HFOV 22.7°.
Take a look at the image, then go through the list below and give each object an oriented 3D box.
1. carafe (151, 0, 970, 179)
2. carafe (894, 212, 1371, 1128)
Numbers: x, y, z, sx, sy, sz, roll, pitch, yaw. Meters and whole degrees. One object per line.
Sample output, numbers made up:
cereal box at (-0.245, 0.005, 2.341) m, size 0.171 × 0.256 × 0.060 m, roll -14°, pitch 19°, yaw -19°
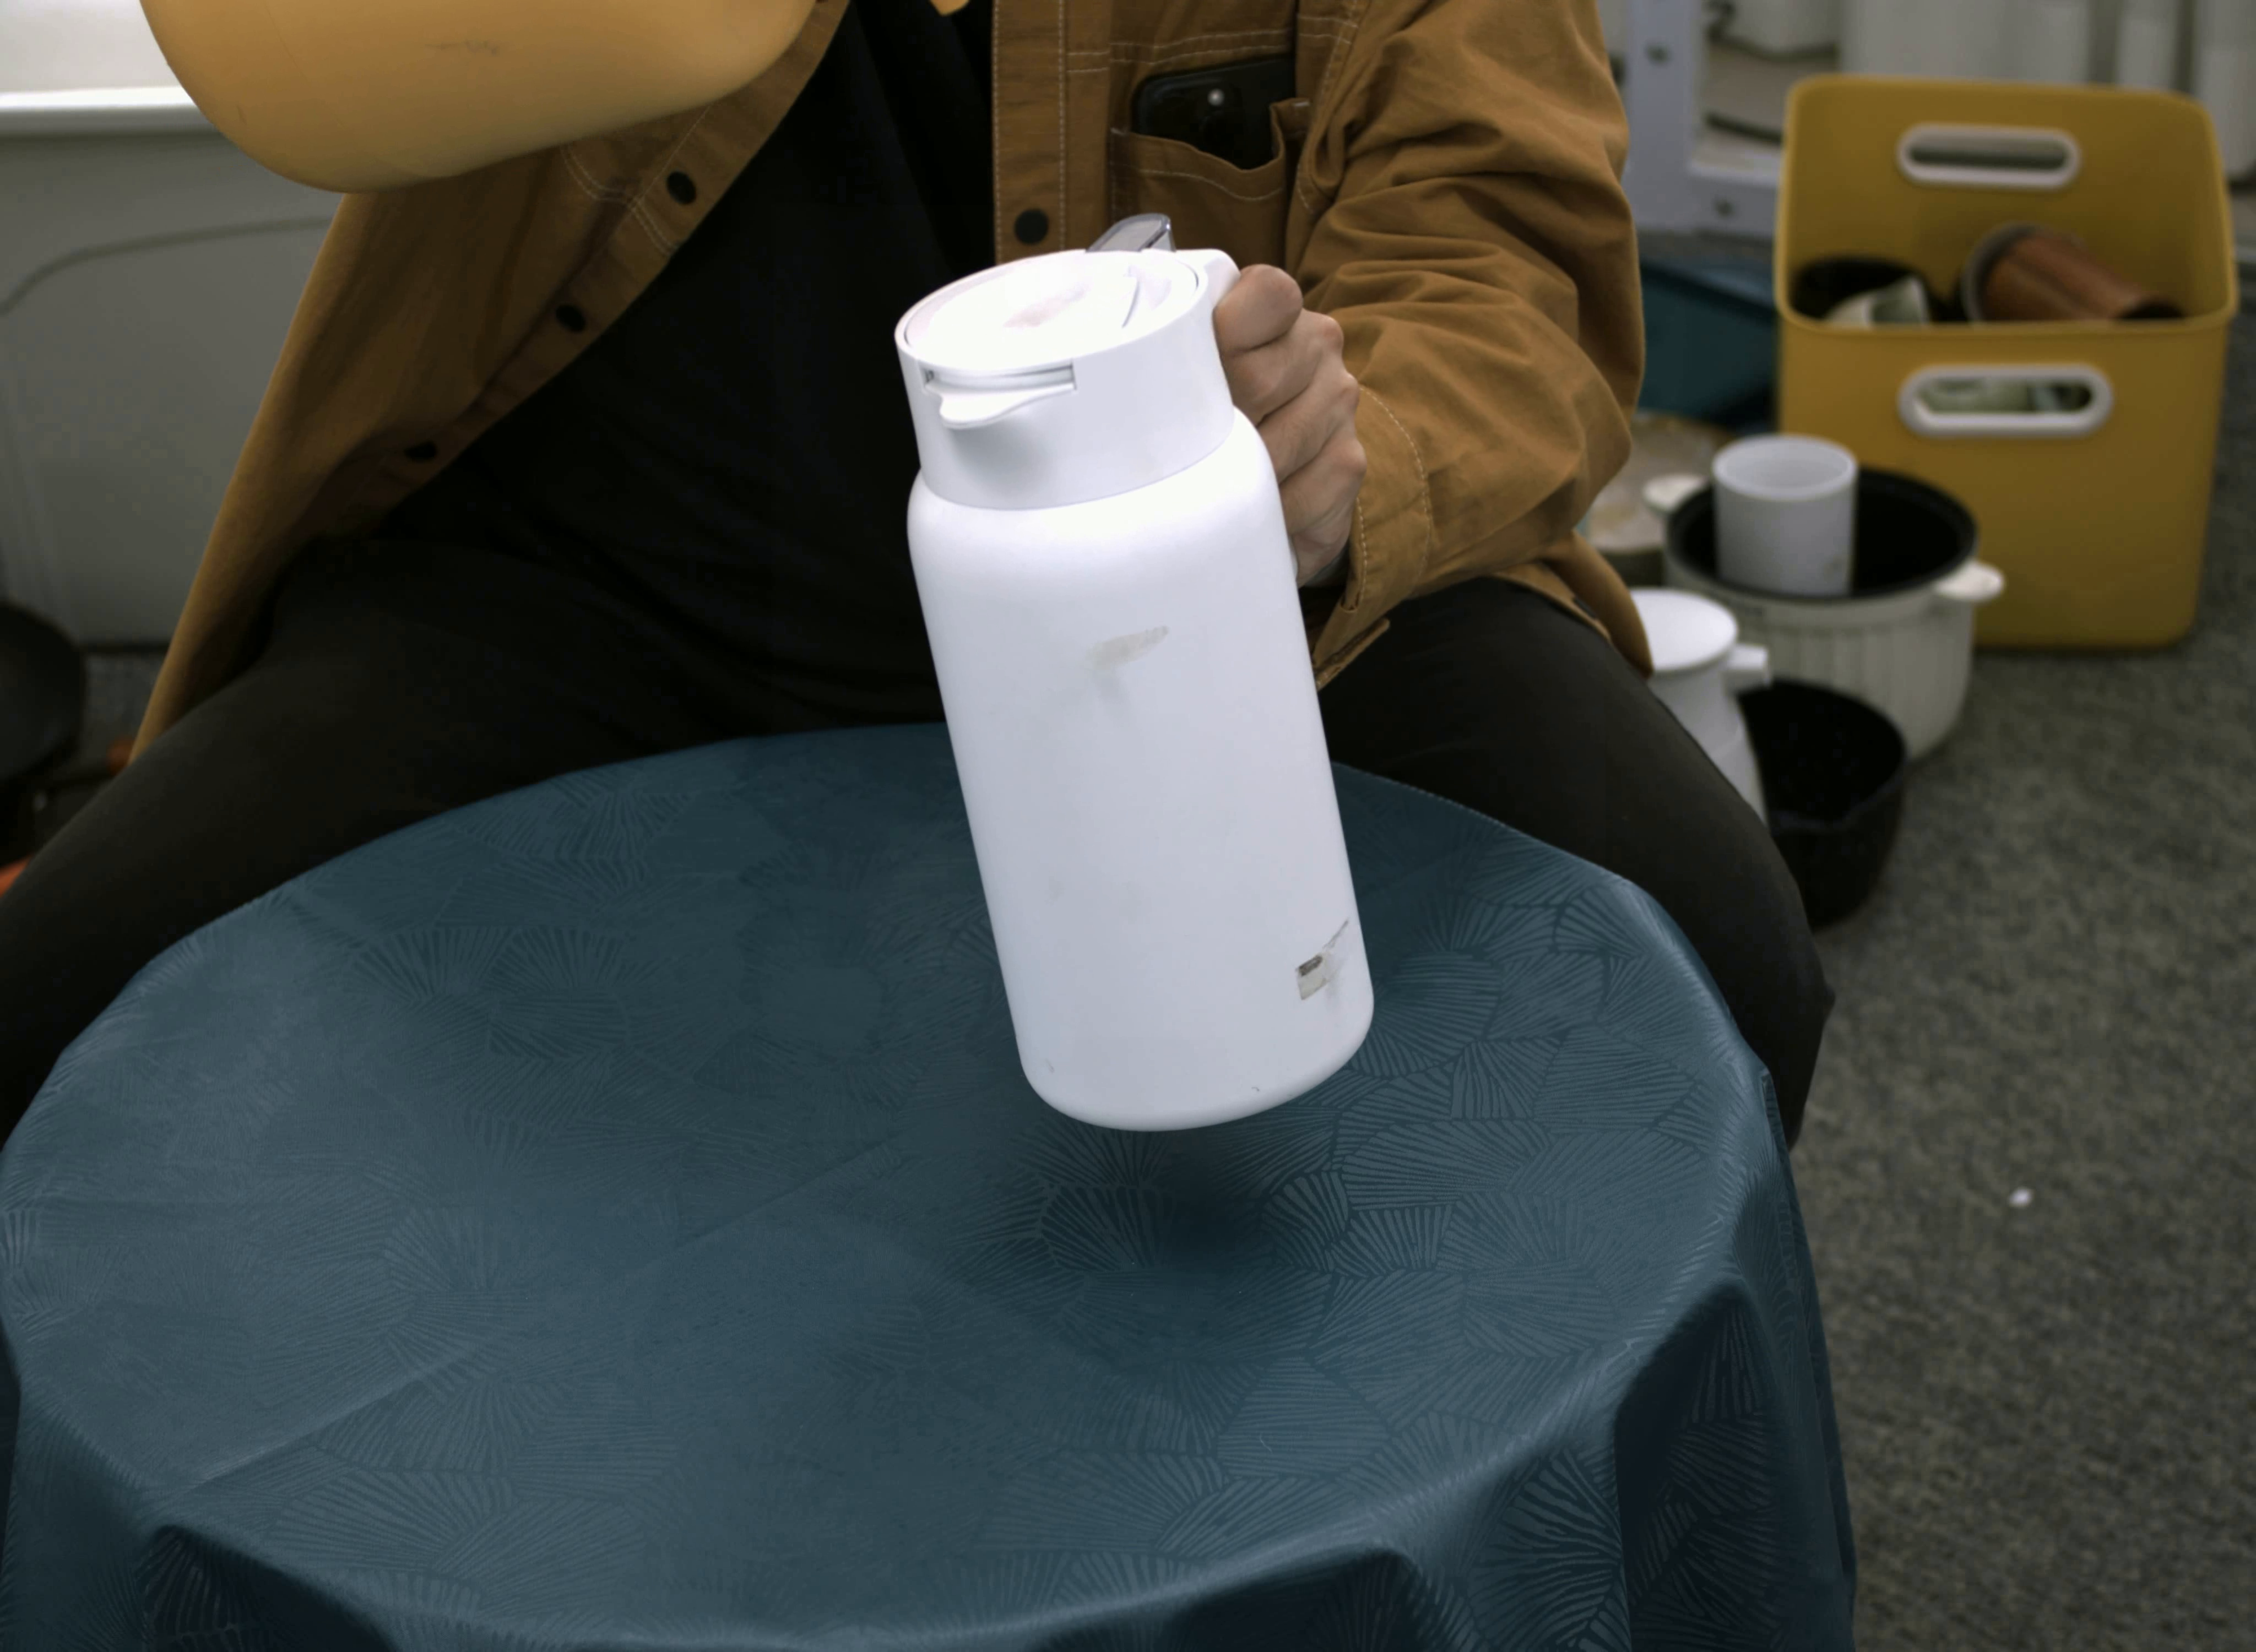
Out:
carafe at (-0.169, -0.312, 1.701) m, size 0.257 × 0.201 × 0.166 m, roll -11°, pitch 23°, yaw 22°
carafe at (0.005, -0.053, 1.794) m, size 0.122 × 0.267 × 0.176 m, roll -2°, pitch 25°, yaw 27°
